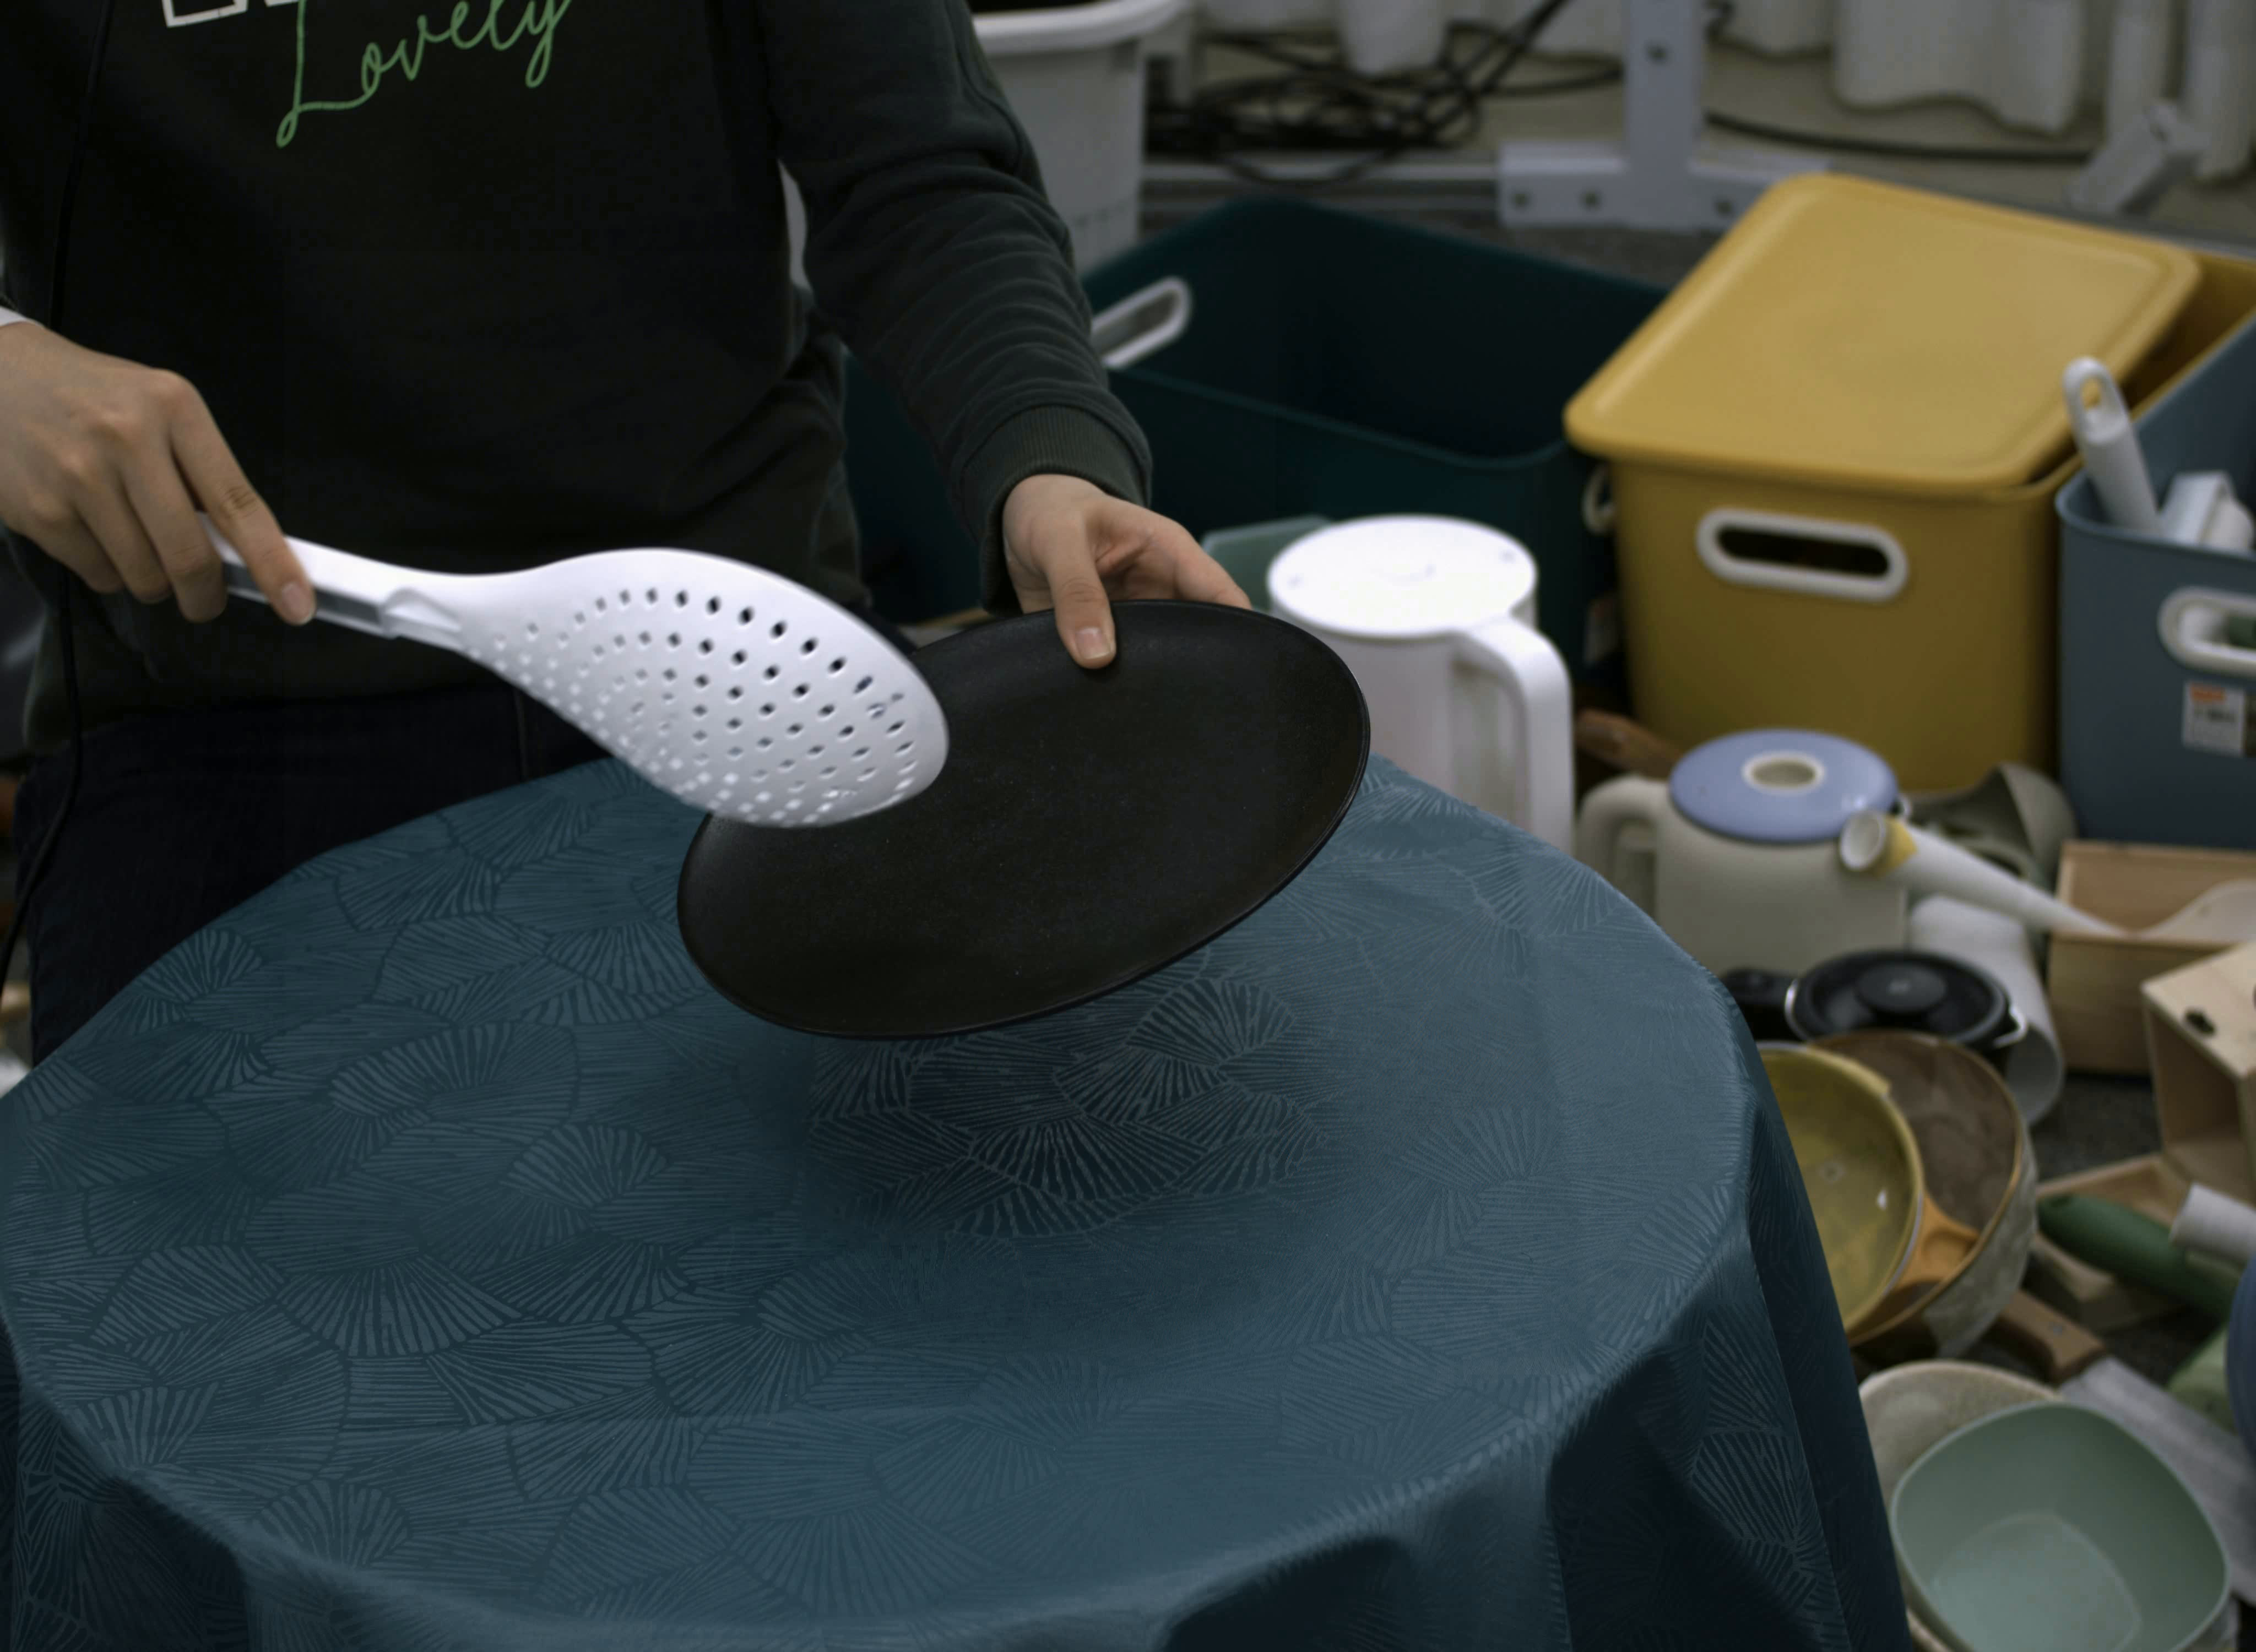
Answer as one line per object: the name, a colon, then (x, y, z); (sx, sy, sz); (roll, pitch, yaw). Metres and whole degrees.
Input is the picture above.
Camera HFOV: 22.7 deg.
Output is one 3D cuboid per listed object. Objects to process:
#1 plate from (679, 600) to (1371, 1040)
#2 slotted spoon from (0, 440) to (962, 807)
plate: (-0.033, 0.001, 1.891); (0.242, 0.023, 0.248); (-13, 32, 9)
slotted spoon: (-0.221, -0.075, 1.836); (0.348, 0.134, 0.046); (19, 58, 14)
